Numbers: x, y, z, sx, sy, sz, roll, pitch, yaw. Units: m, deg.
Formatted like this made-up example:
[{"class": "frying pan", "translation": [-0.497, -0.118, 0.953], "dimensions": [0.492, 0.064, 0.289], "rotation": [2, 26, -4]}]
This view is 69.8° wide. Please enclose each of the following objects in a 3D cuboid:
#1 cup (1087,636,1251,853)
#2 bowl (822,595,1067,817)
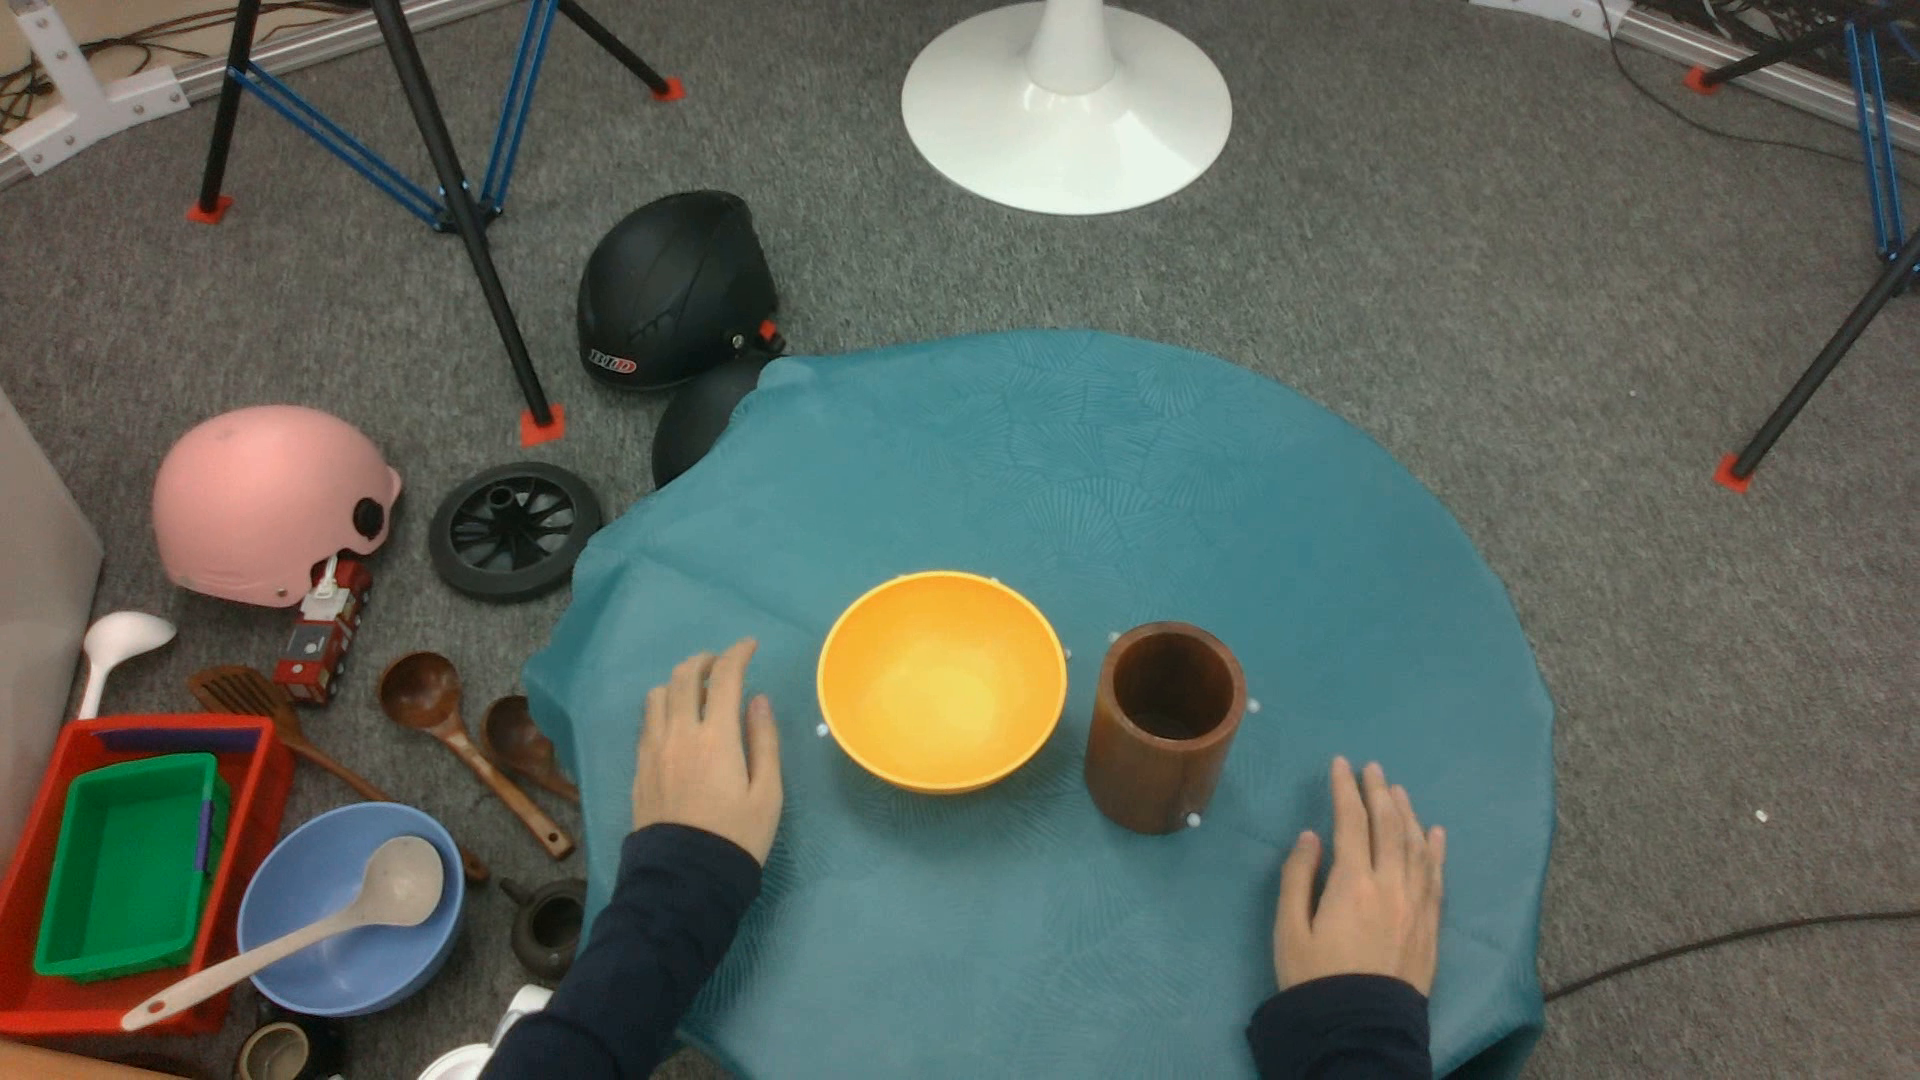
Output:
[{"class": "cup", "translation": [0.116, 0.120, 0.787], "dimensions": [0.088, 0.118, 0.088], "rotation": [-1, 54, 1]}, {"class": "bowl", "translation": [-0.009, 0.109, 0.831], "dimensions": [0.145, 0.060, 0.146], "rotation": [0, 55, 0]}]
